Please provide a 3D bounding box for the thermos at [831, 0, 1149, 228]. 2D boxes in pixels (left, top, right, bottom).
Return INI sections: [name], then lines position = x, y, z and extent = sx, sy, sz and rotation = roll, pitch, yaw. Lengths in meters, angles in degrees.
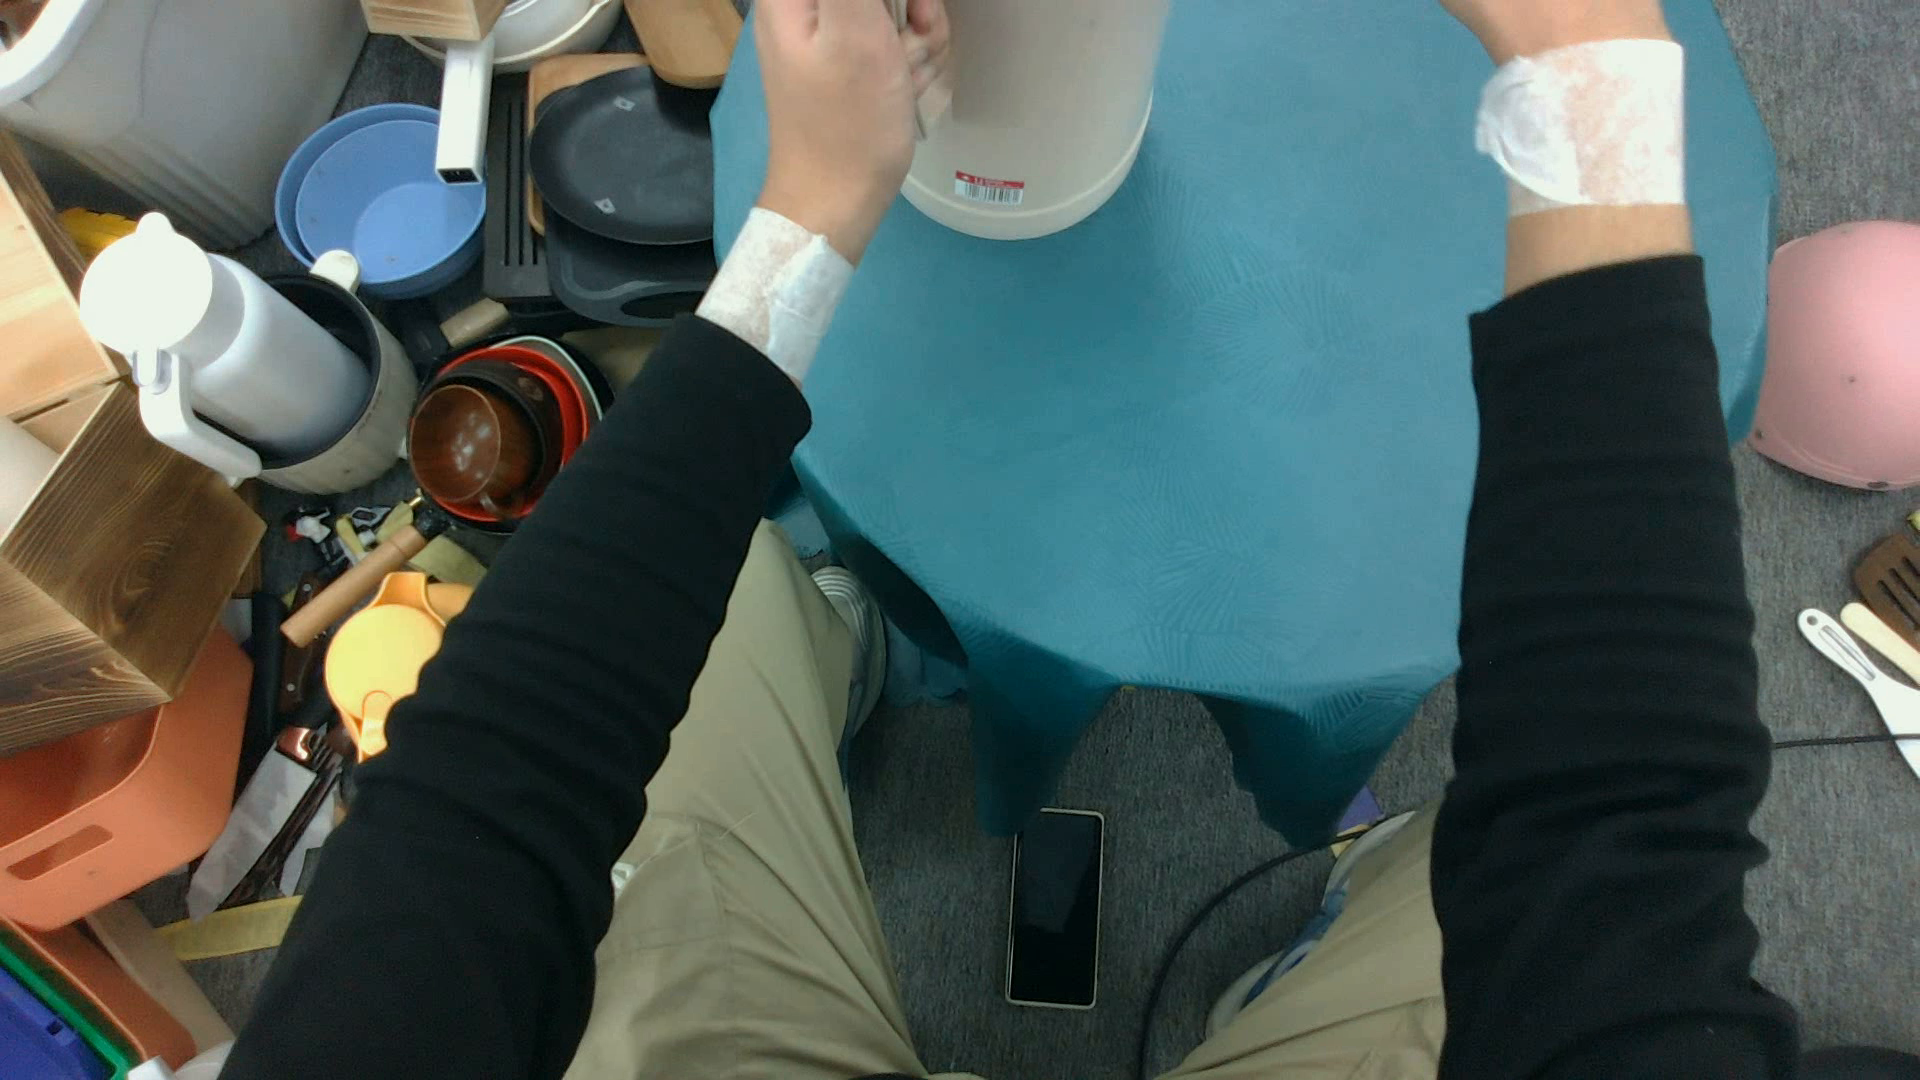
[thermos]
position = 0.009, -0.282, 0.597
extent = 0.175, 0.405, 0.207
rotation = 30, 79, 4
